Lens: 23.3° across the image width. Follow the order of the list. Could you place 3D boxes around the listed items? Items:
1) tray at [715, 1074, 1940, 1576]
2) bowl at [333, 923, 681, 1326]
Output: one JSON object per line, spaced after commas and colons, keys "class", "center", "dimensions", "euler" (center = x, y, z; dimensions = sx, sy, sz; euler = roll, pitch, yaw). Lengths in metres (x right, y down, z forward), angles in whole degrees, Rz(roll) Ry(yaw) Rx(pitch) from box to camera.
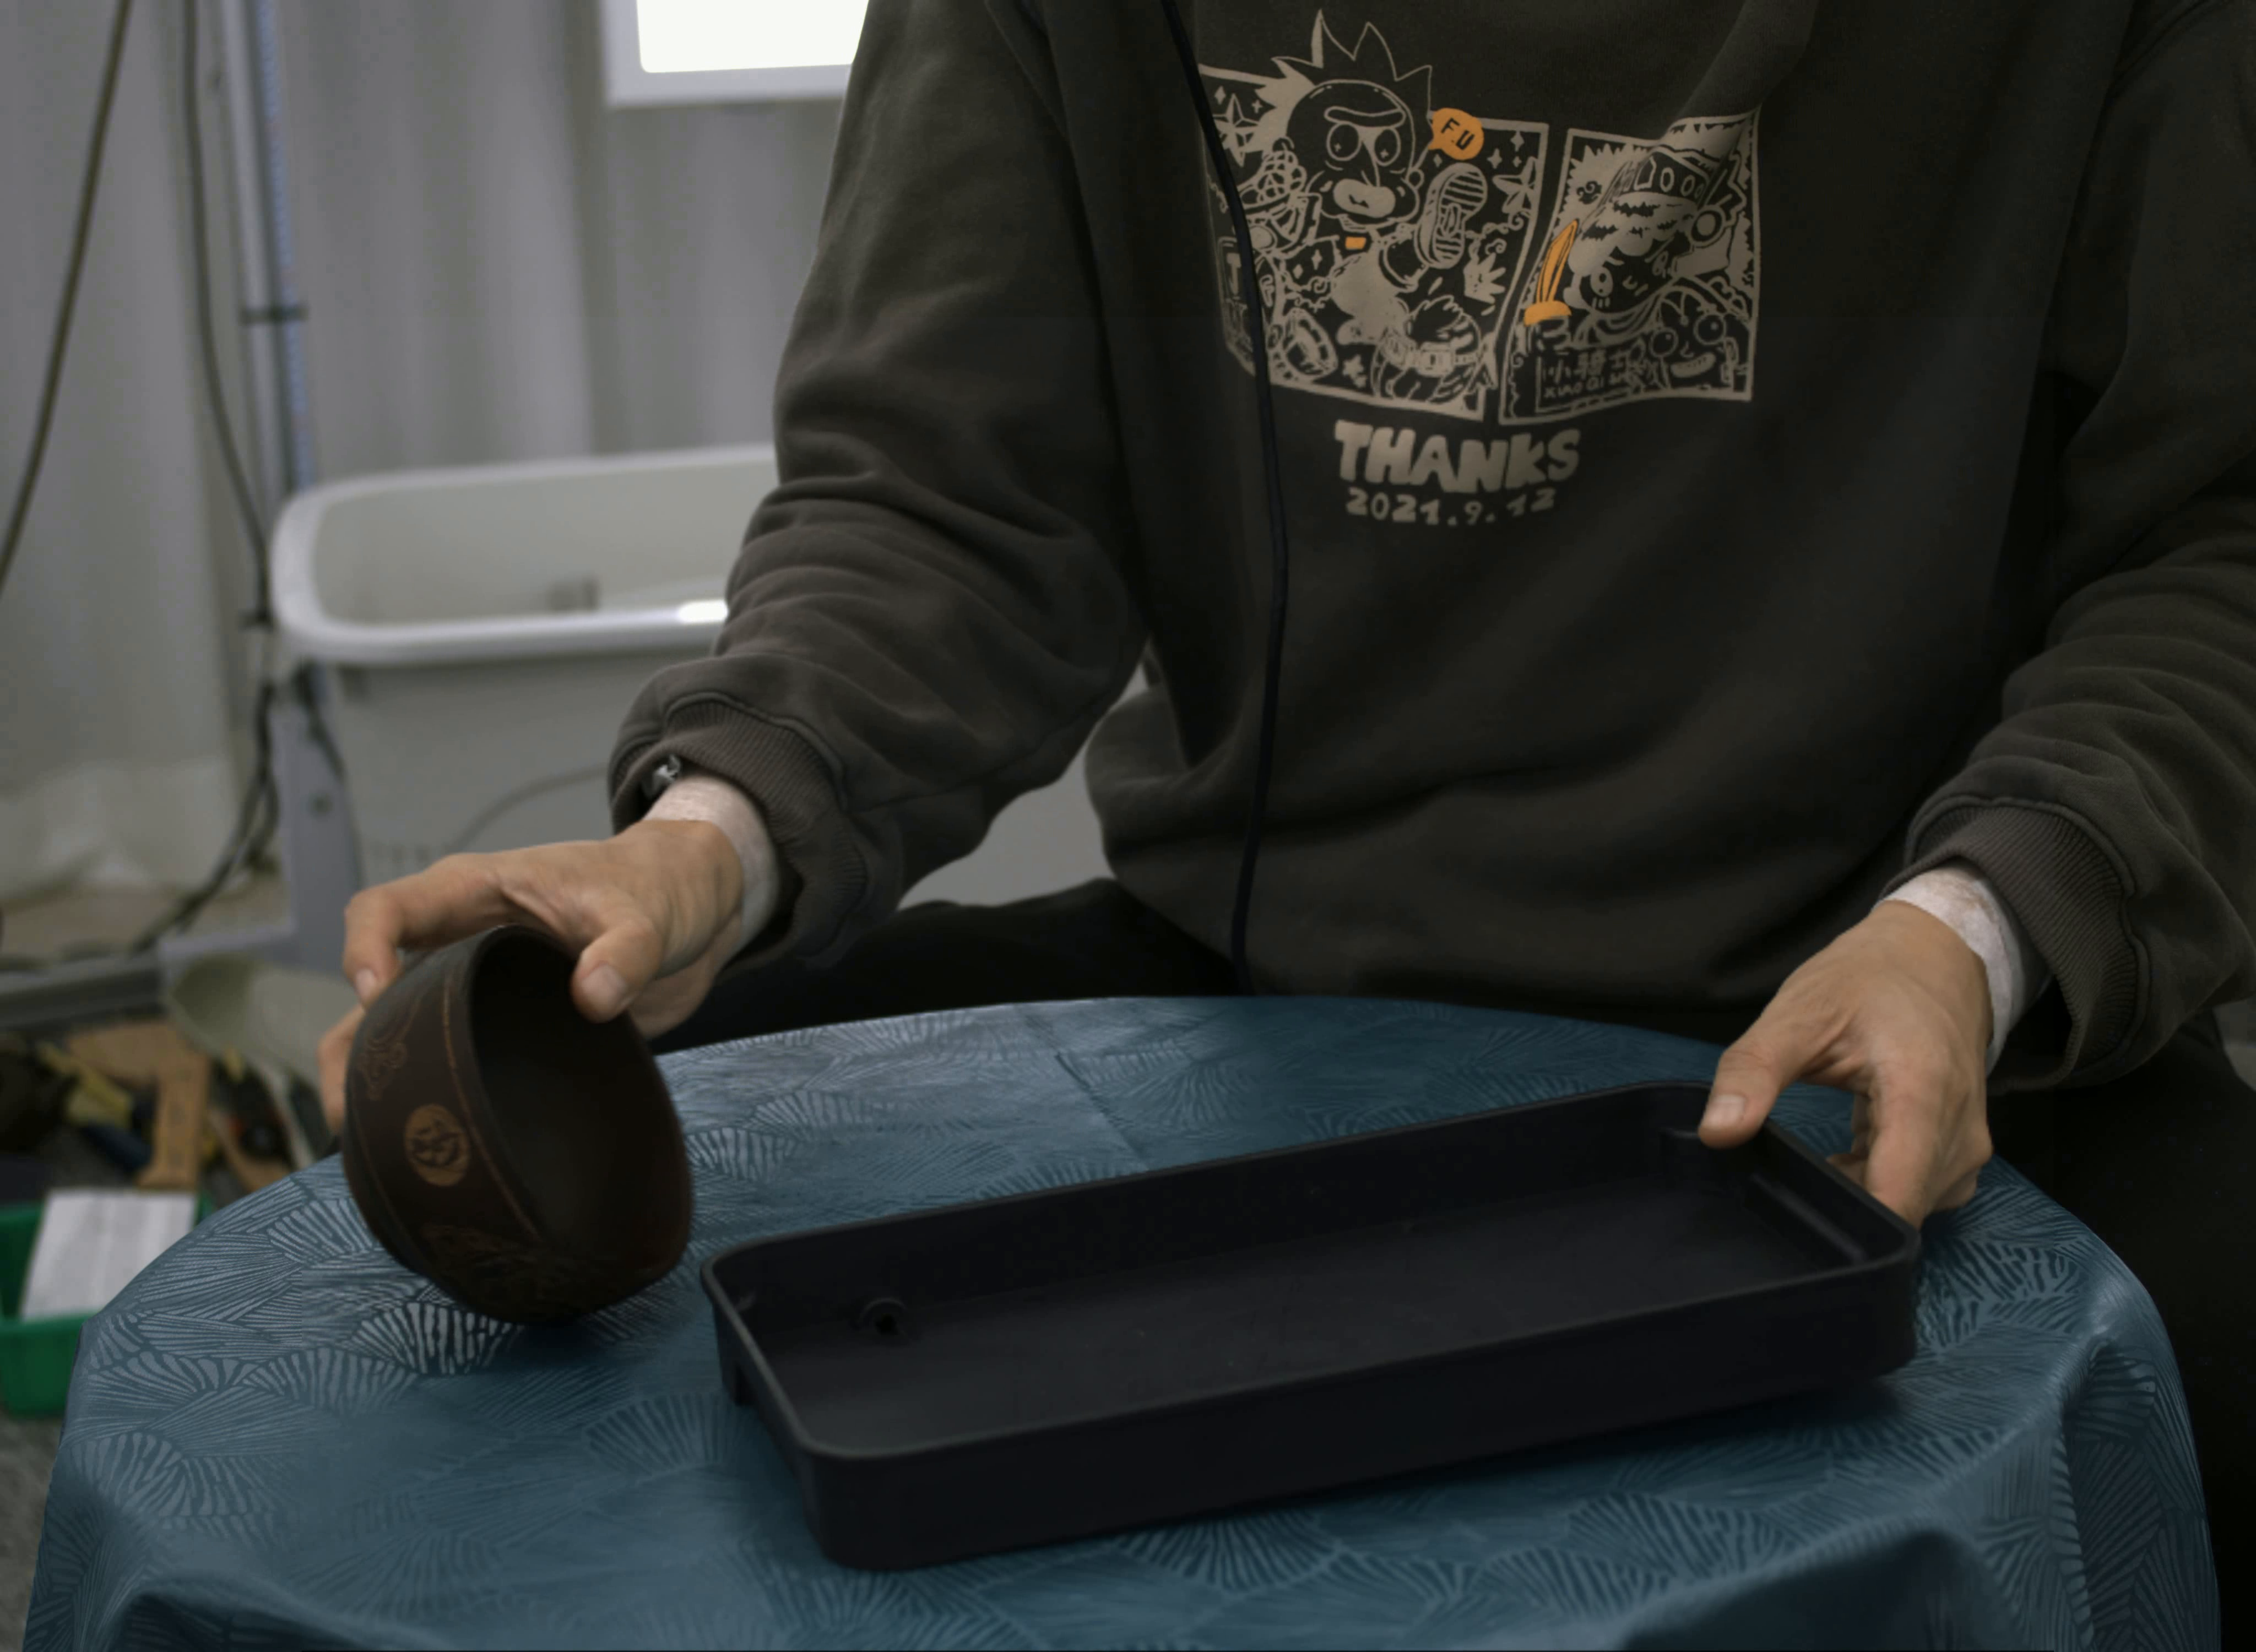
{"class": "tray", "center": [0.054, 0.136, 1.542], "dimensions": [0.317, 0.037, 0.186], "euler": [-10, 15, -15]}
{"class": "bowl", "center": [-0.192, 0.095, 1.630], "dimensions": [0.069, 0.118, 0.118], "euler": [-24, 8, 18]}
